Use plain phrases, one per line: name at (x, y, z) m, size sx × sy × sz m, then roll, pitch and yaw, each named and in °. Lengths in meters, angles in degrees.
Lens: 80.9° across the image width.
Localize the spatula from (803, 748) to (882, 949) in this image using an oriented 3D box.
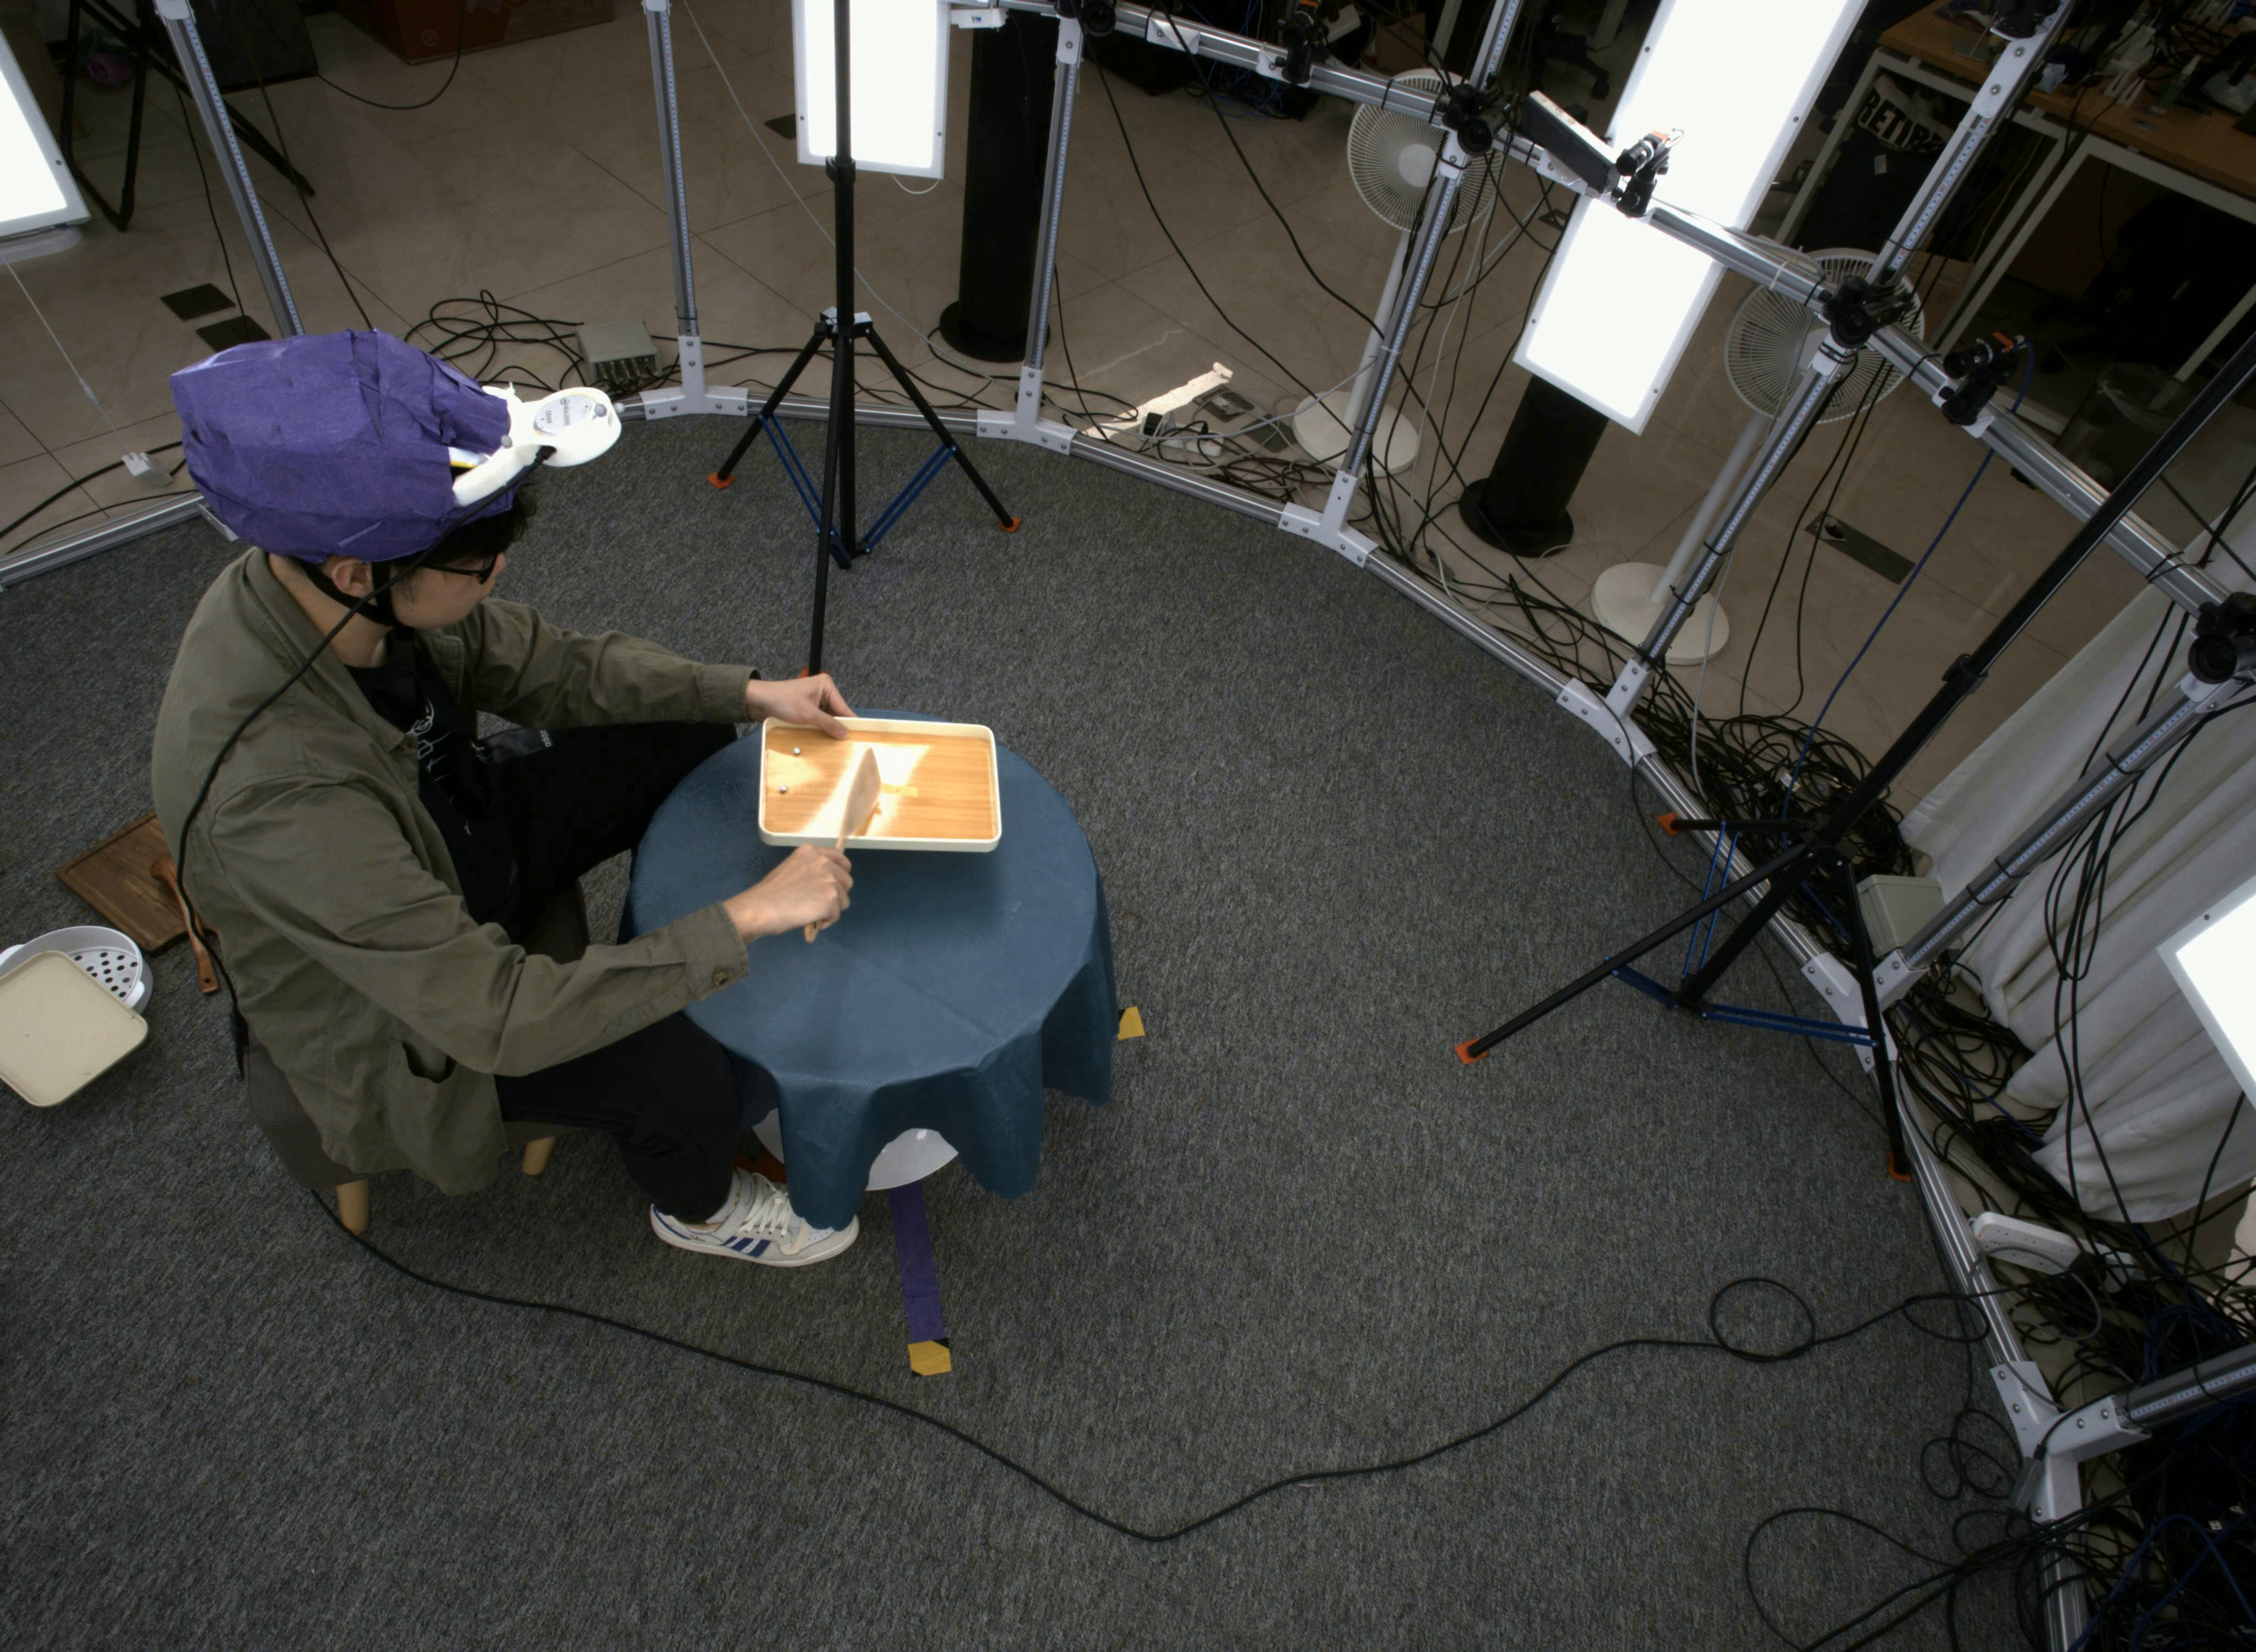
spatula at (-0.329, 0.024, 1.498) m, size 0.016 × 0.082 × 0.321 m, roll 1°, pitch 38°, yaw 3°

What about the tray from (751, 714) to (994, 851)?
tray at (-0.324, -0.056, 1.663) m, size 0.301 × 0.028 × 0.188 m, roll 2°, pitch 56°, yaw -16°
